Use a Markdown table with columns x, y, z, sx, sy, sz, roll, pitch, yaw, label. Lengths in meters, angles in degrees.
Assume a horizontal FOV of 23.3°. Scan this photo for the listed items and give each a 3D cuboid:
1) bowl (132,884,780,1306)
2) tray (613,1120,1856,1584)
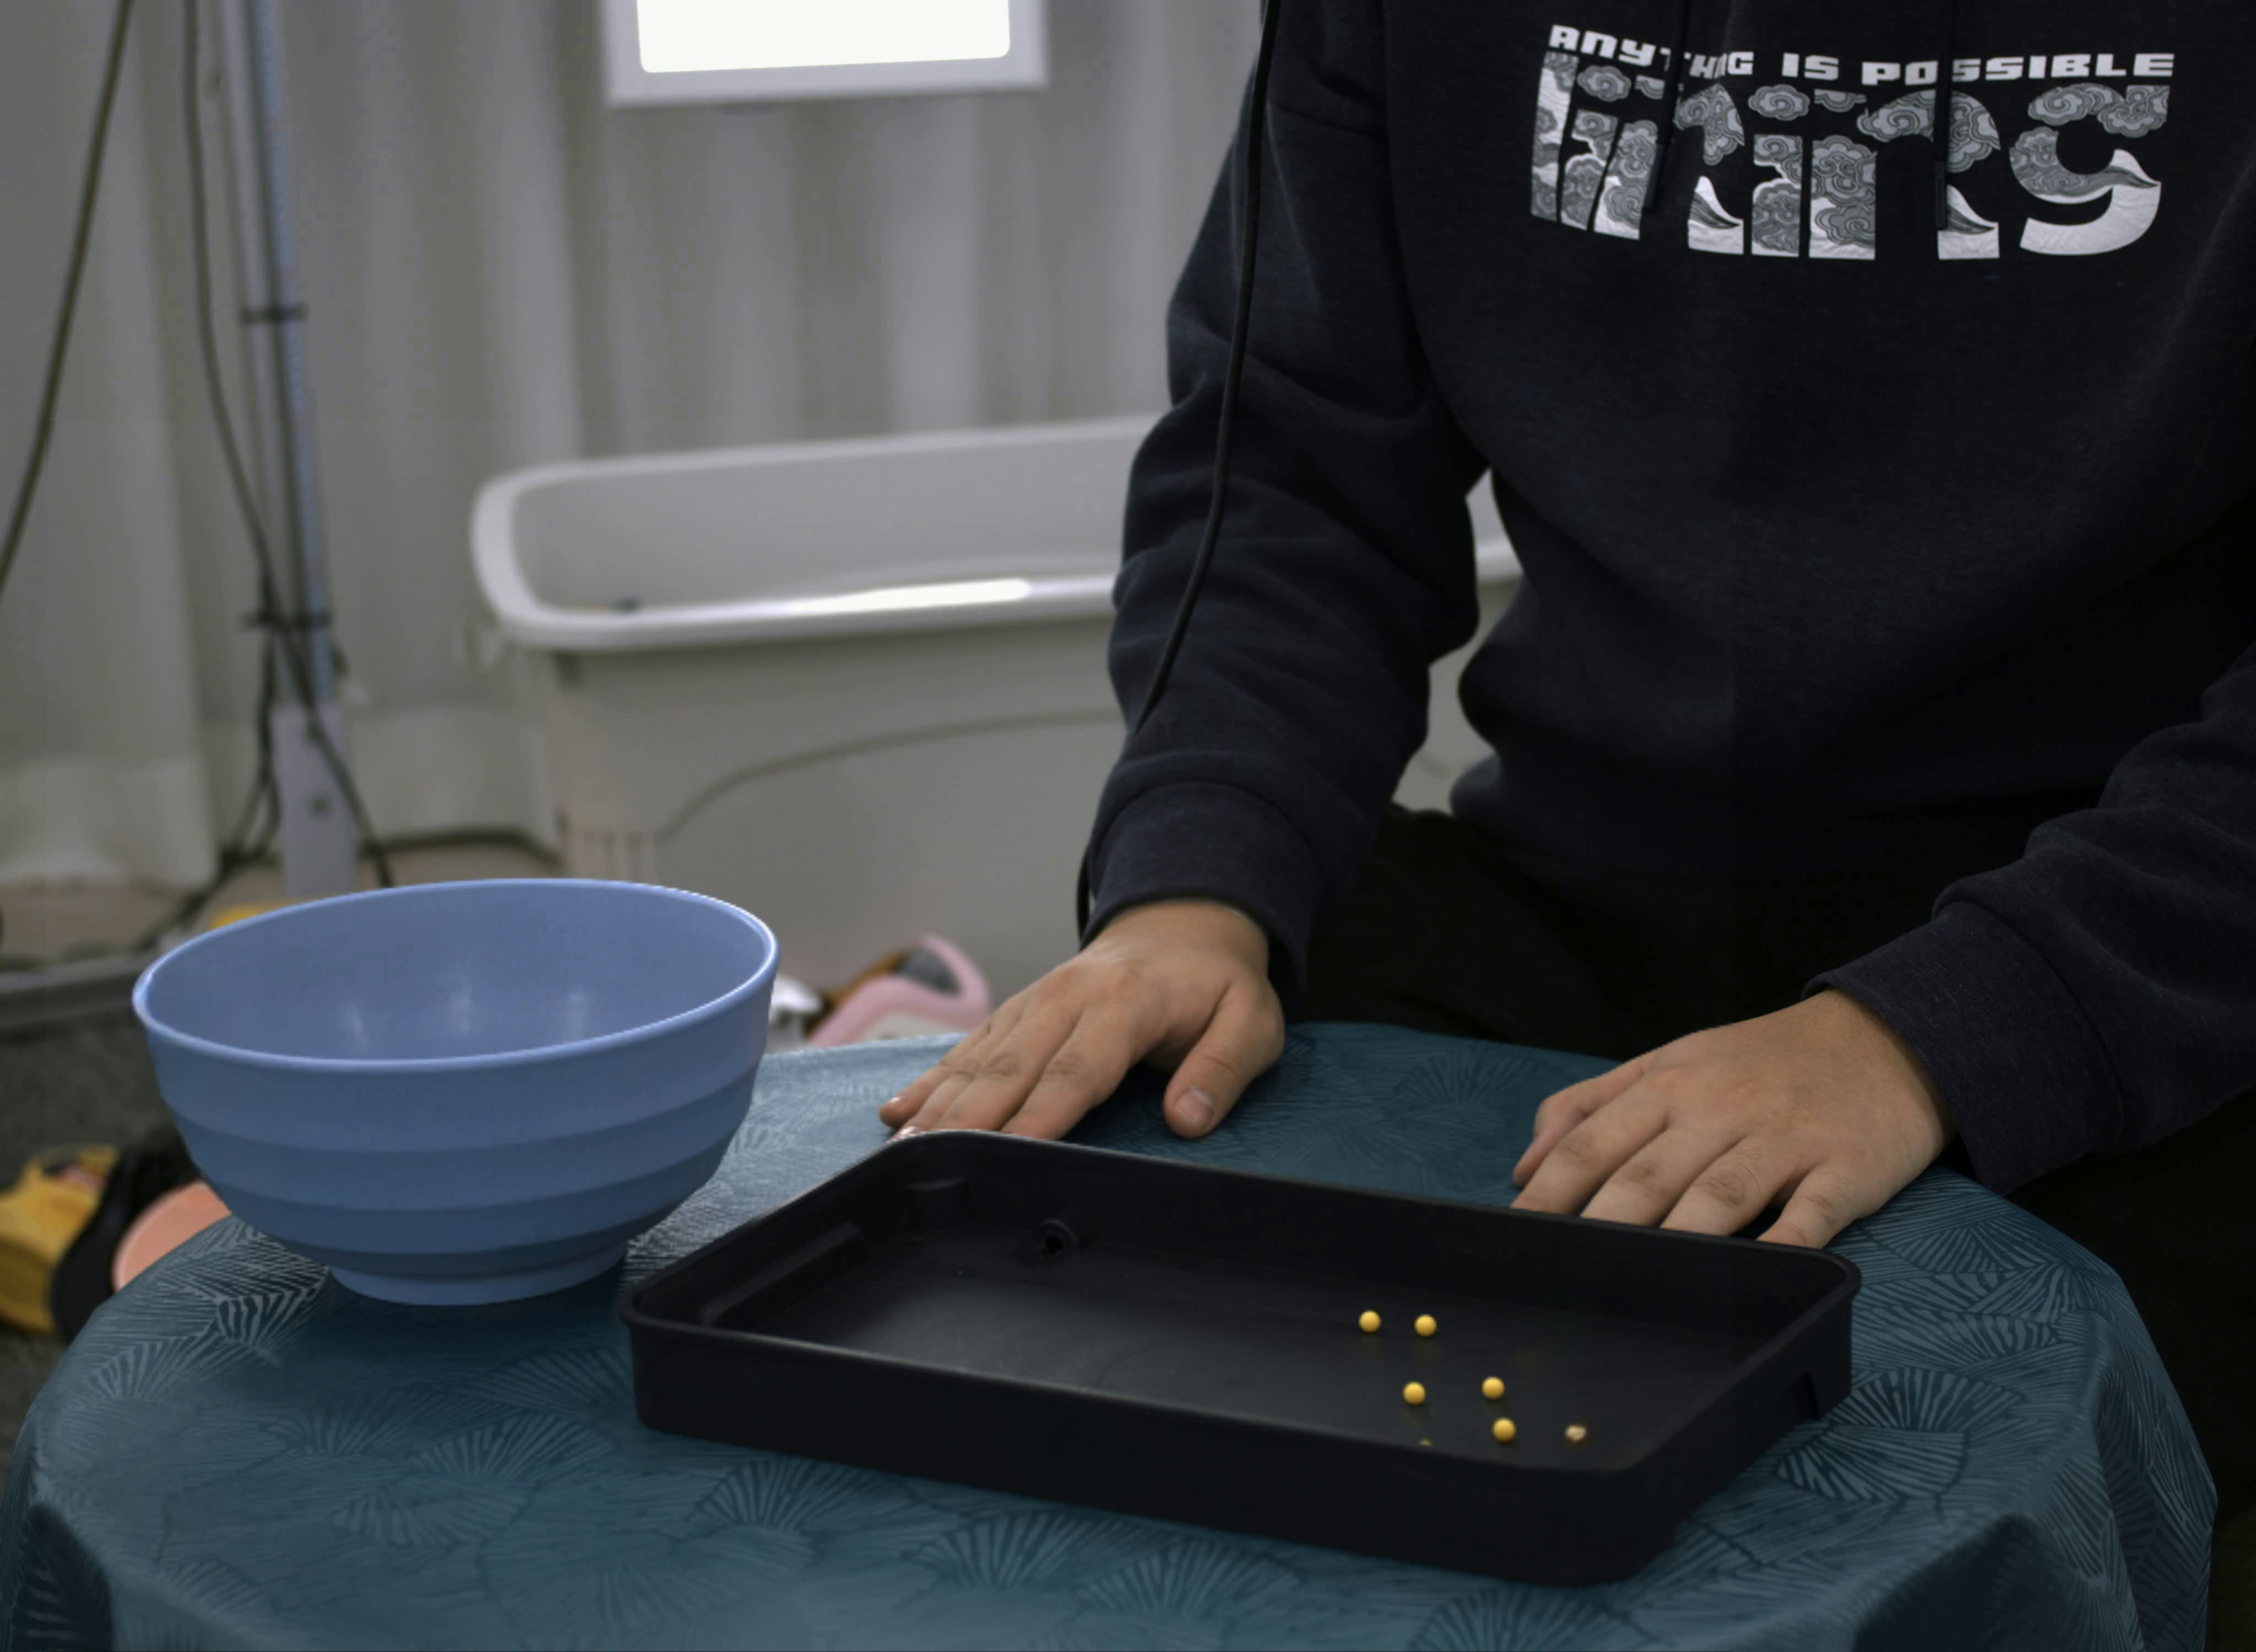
| x | y | z | sx | sy | sz | roll | pitch | yaw | label |
| --- | --- | --- | --- | --- | --- | --- | --- | --- | --- |
| -0.201 | 0.087 | 1.673 | 0.196 | 0.095 | 0.198 | -3 | 14 | 1 | bowl |
| 0.029 | 0.143 | 1.533 | 0.319 | 0.037 | 0.184 | 6 | 17 | 29 | tray |
